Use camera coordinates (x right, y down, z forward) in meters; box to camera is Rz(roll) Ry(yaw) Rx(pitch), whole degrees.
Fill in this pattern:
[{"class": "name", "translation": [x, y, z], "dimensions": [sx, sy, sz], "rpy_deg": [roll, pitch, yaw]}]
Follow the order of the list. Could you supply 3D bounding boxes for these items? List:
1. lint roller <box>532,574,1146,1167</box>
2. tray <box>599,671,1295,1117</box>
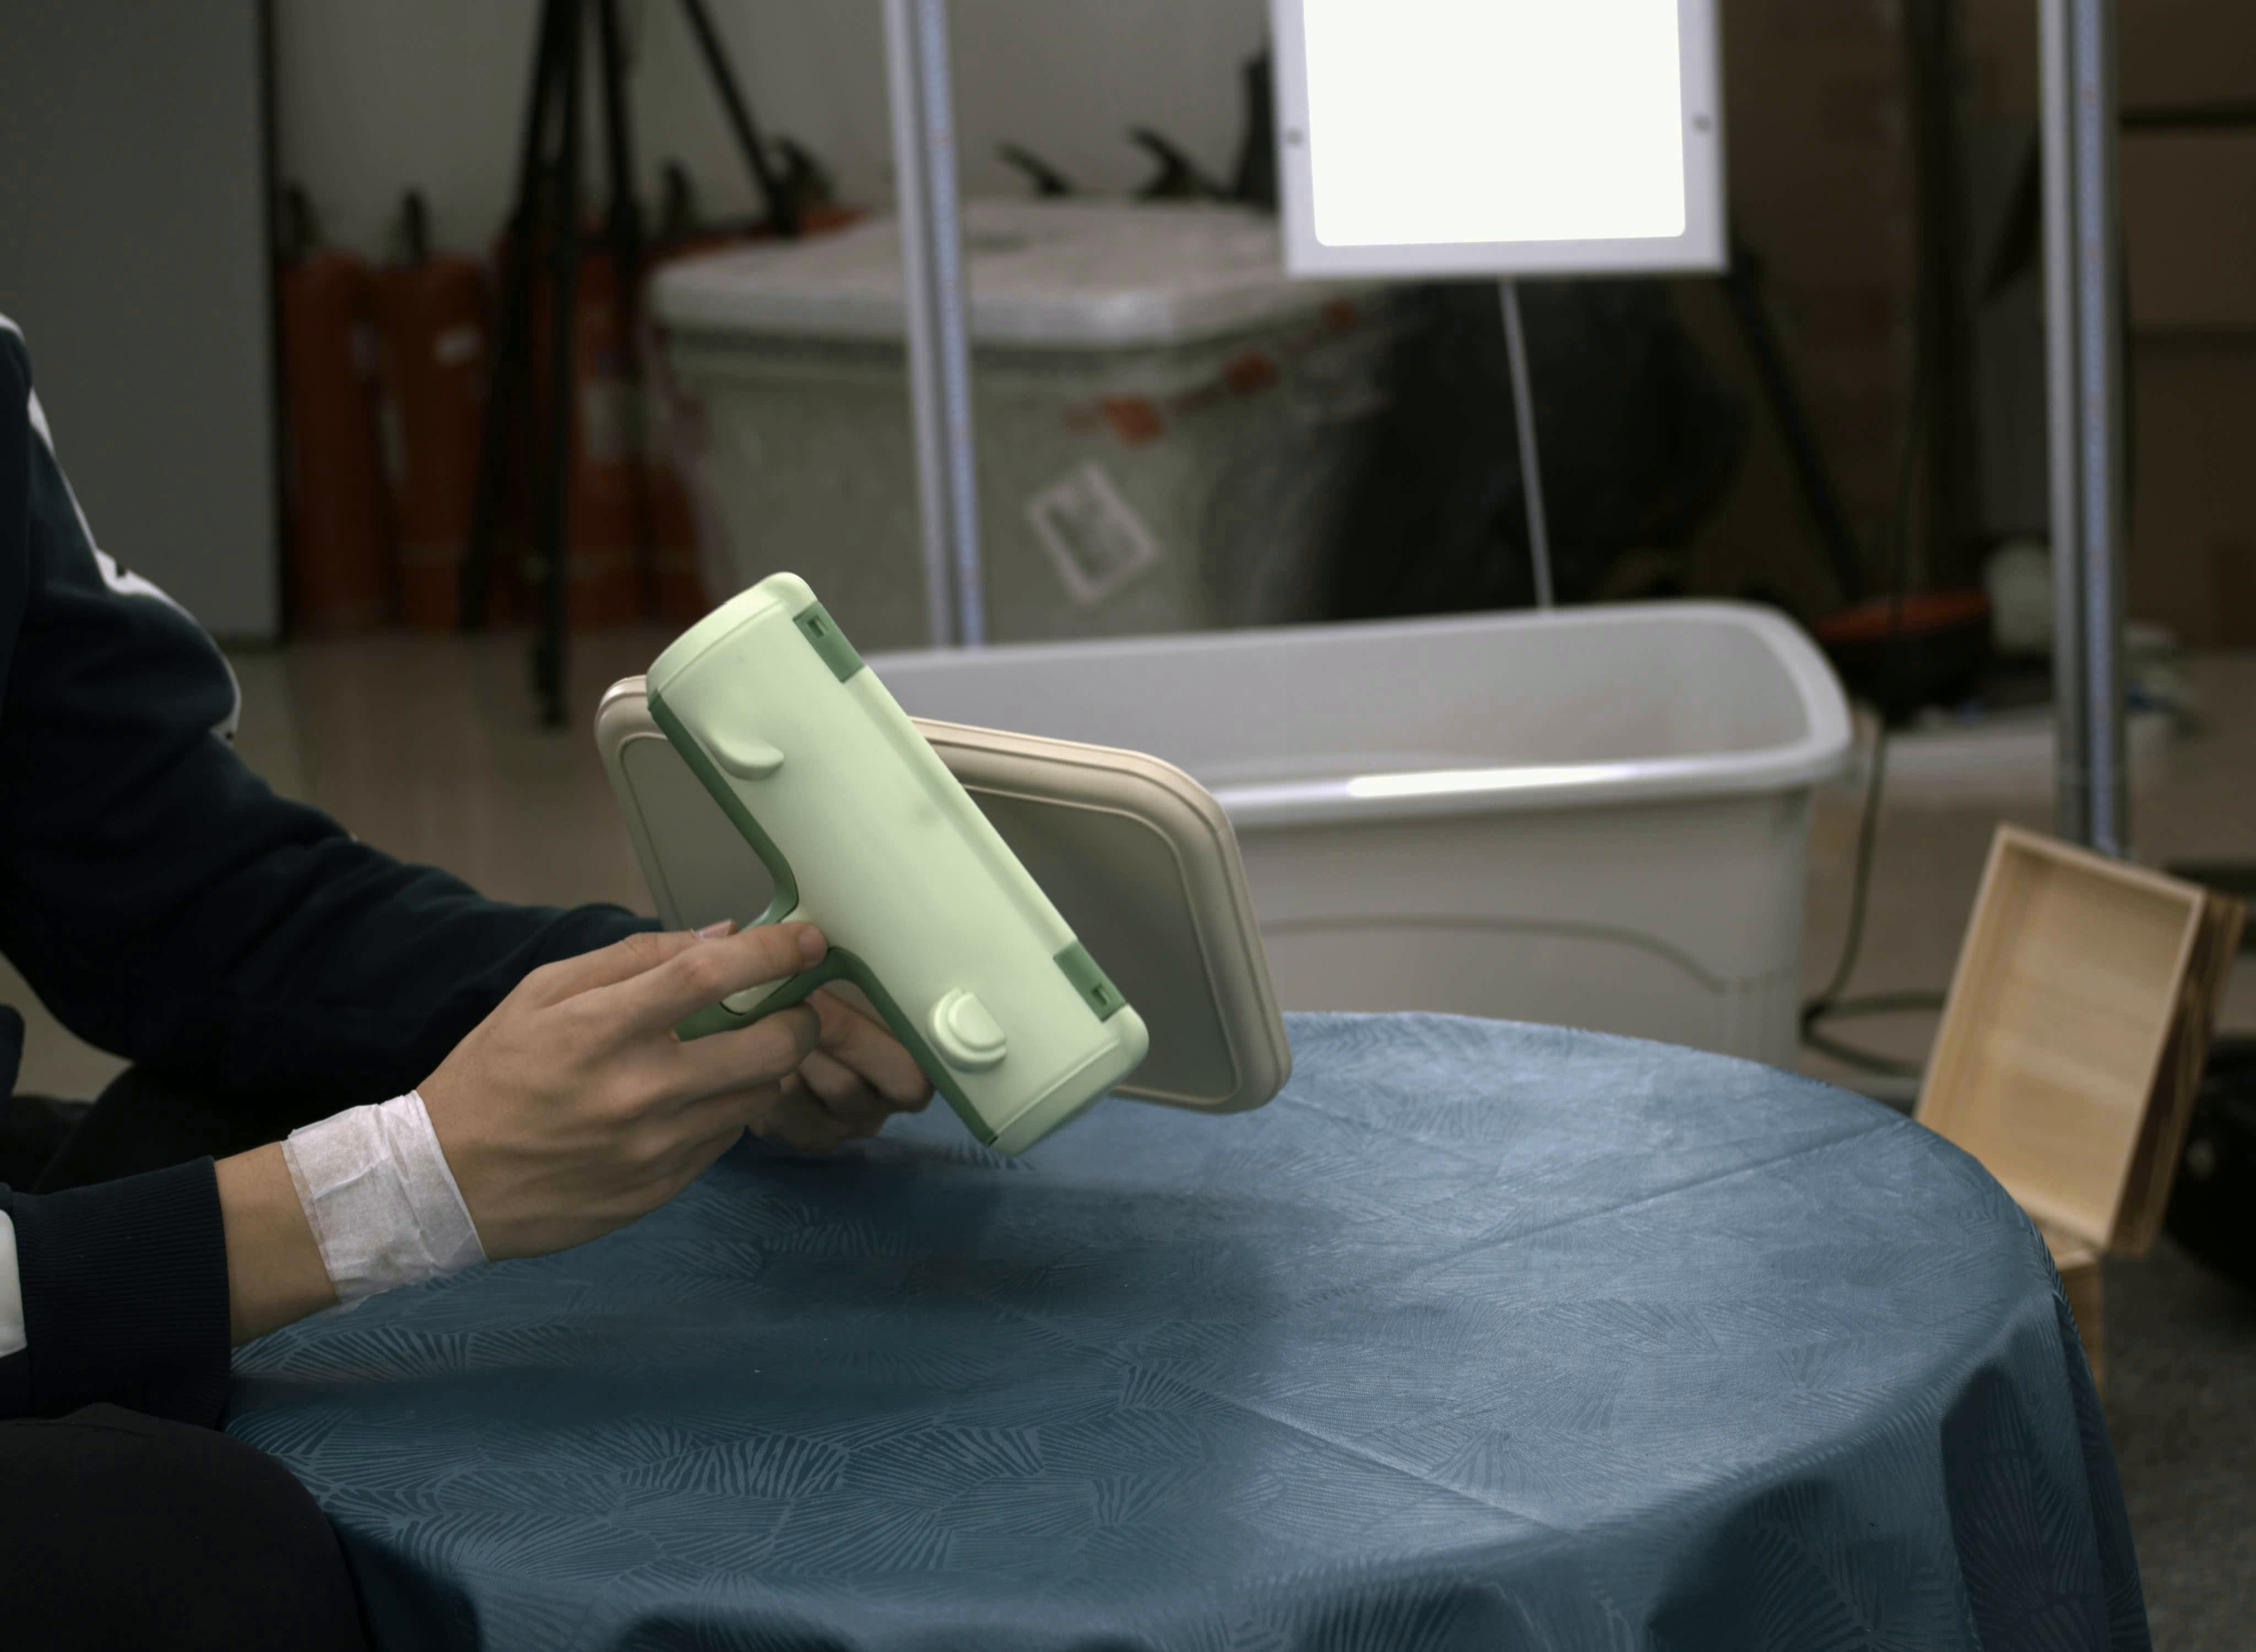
[{"class": "lint roller", "translation": [-0.121, 0.049, 1.739], "dimensions": [0.184, 0.199, 0.081], "rpy_deg": [-38, -6, 6]}, {"class": "tray", "translation": [-0.063, 0.026, 1.866], "dimensions": [0.243, 0.171, 0.017], "rpy_deg": [9, 48, 26]}]
